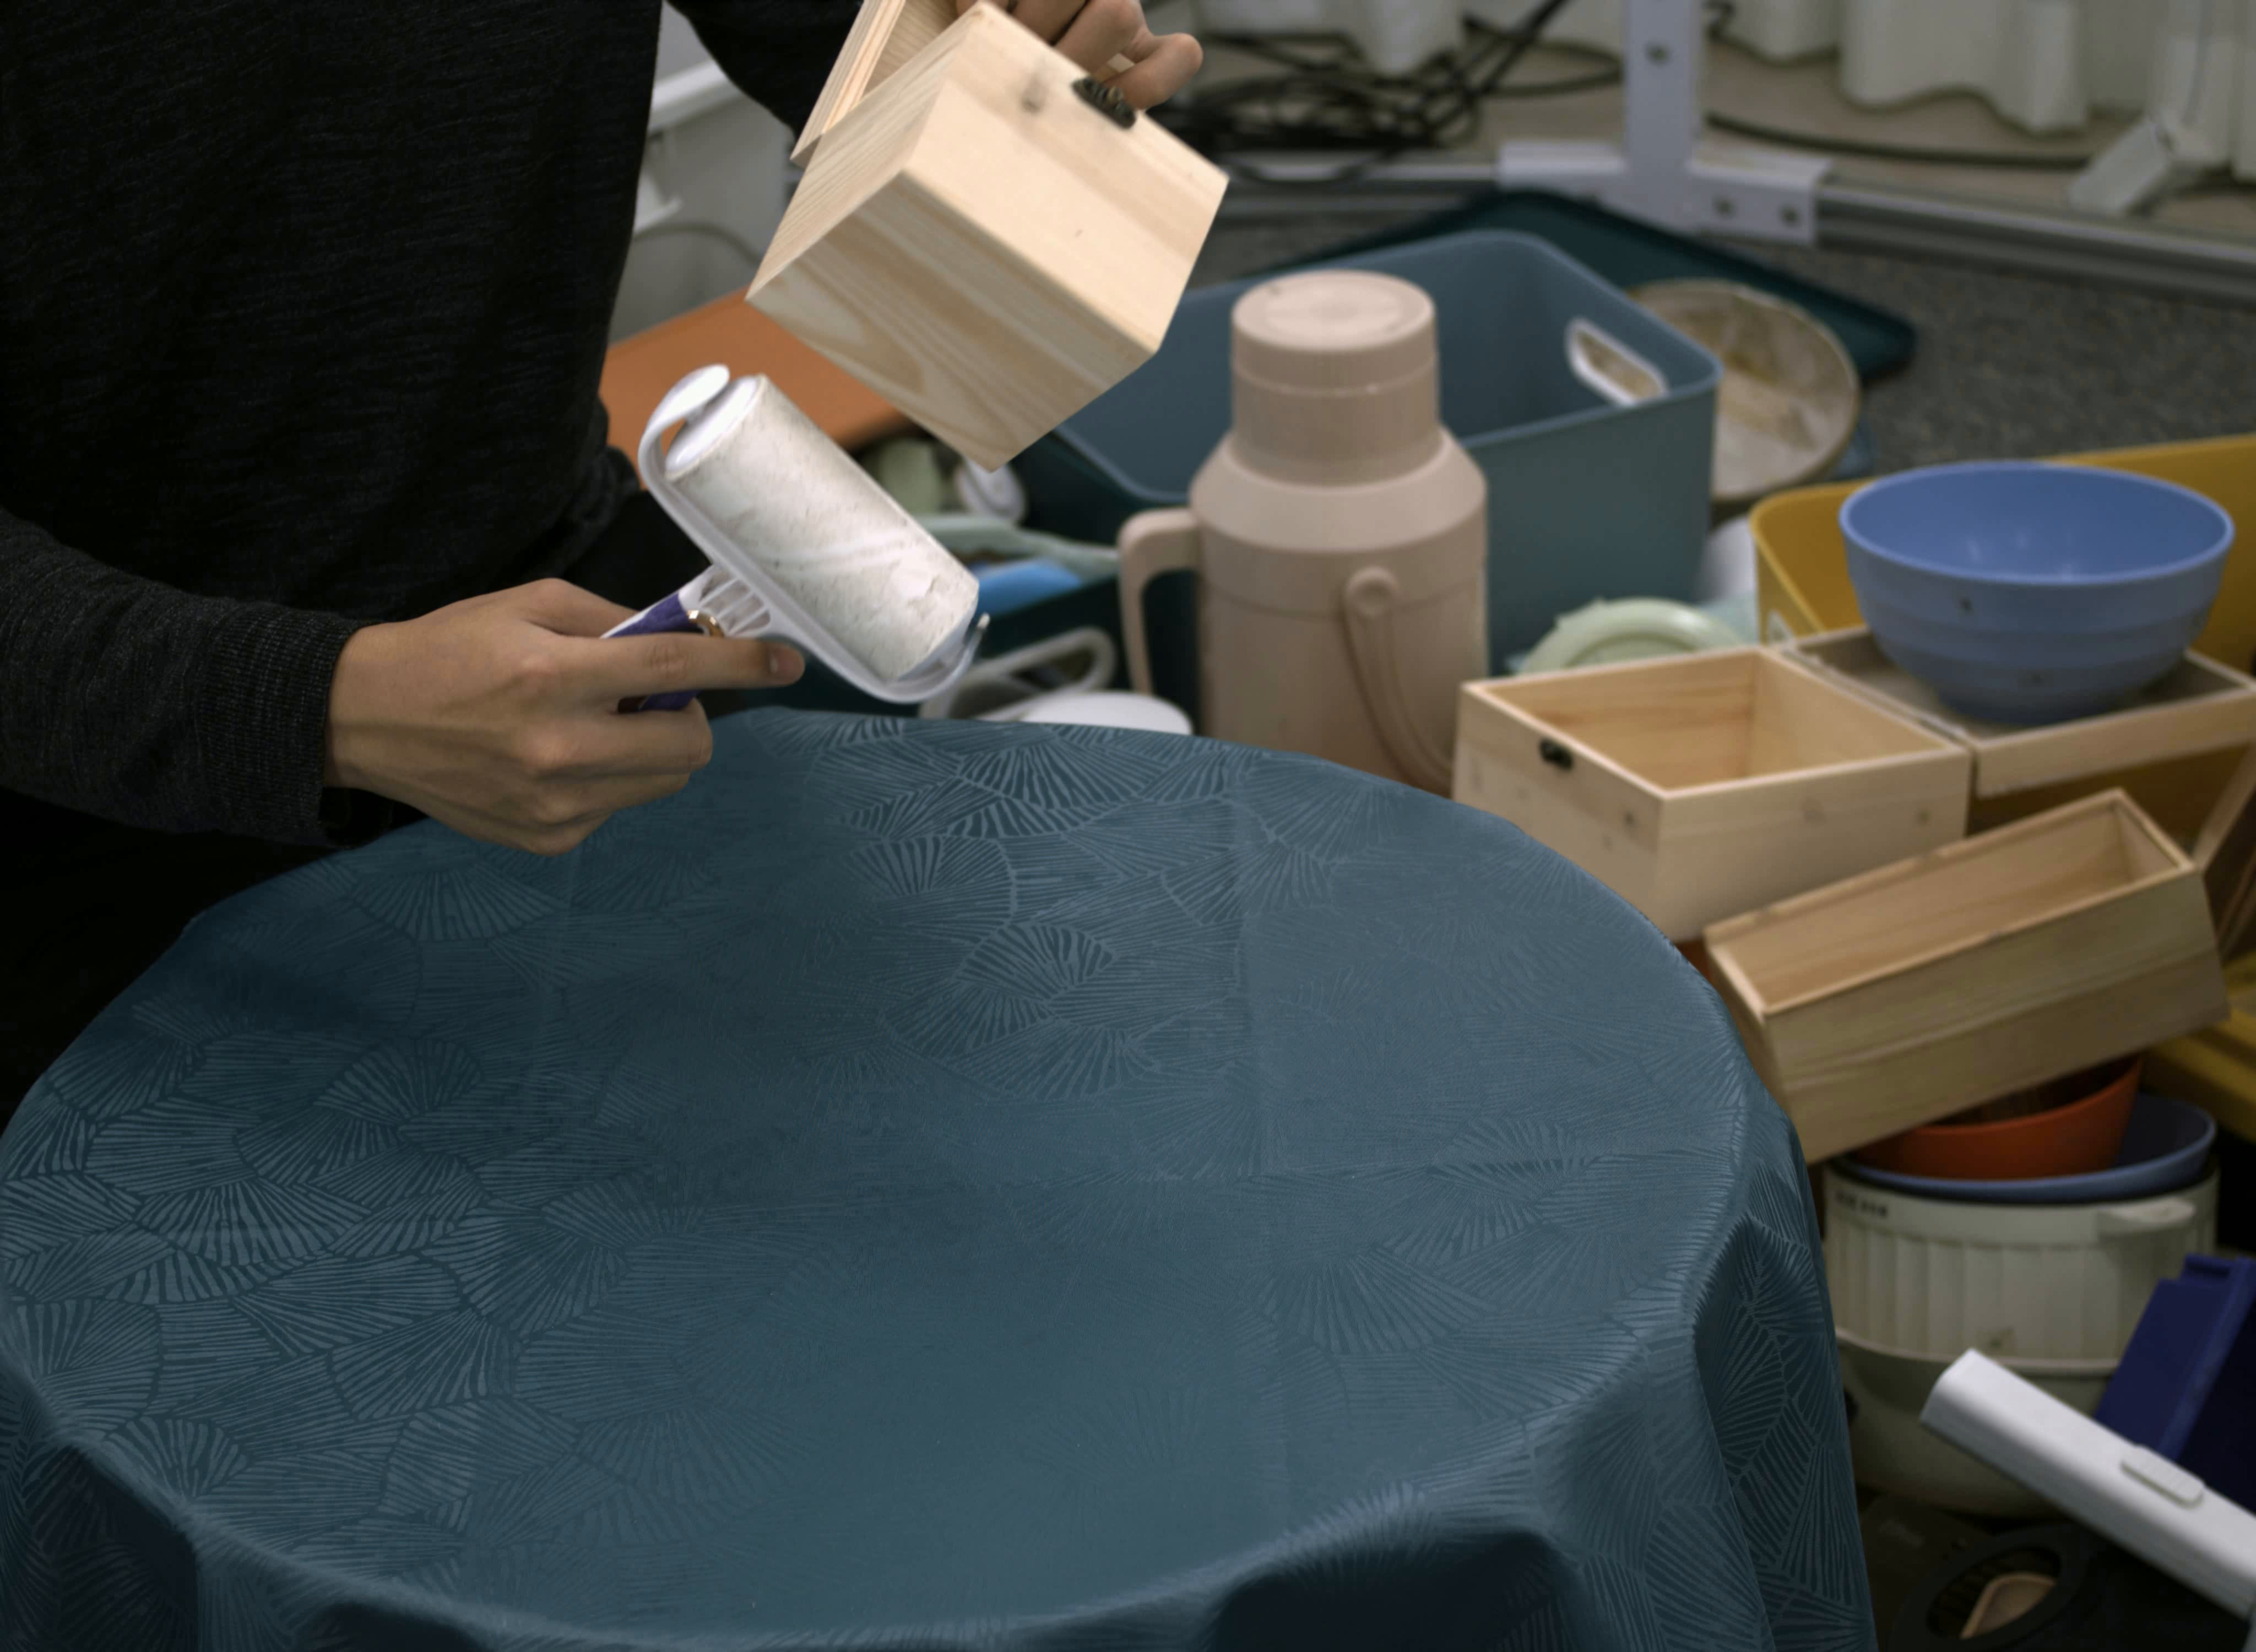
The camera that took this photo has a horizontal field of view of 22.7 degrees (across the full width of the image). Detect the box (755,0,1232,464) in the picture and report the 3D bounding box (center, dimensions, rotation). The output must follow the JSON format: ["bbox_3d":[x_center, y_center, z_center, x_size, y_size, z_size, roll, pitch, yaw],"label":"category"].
[{"bbox_3d":[-0.032,-0.229,1.847,0.132,0.102,0.188,-34,27,49],"label":"box"}]

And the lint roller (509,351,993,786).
[{"bbox_3d":[-0.145,-0.064,1.848,0.178,0.132,0.051,-38,18,21],"label":"lint roller"}]
